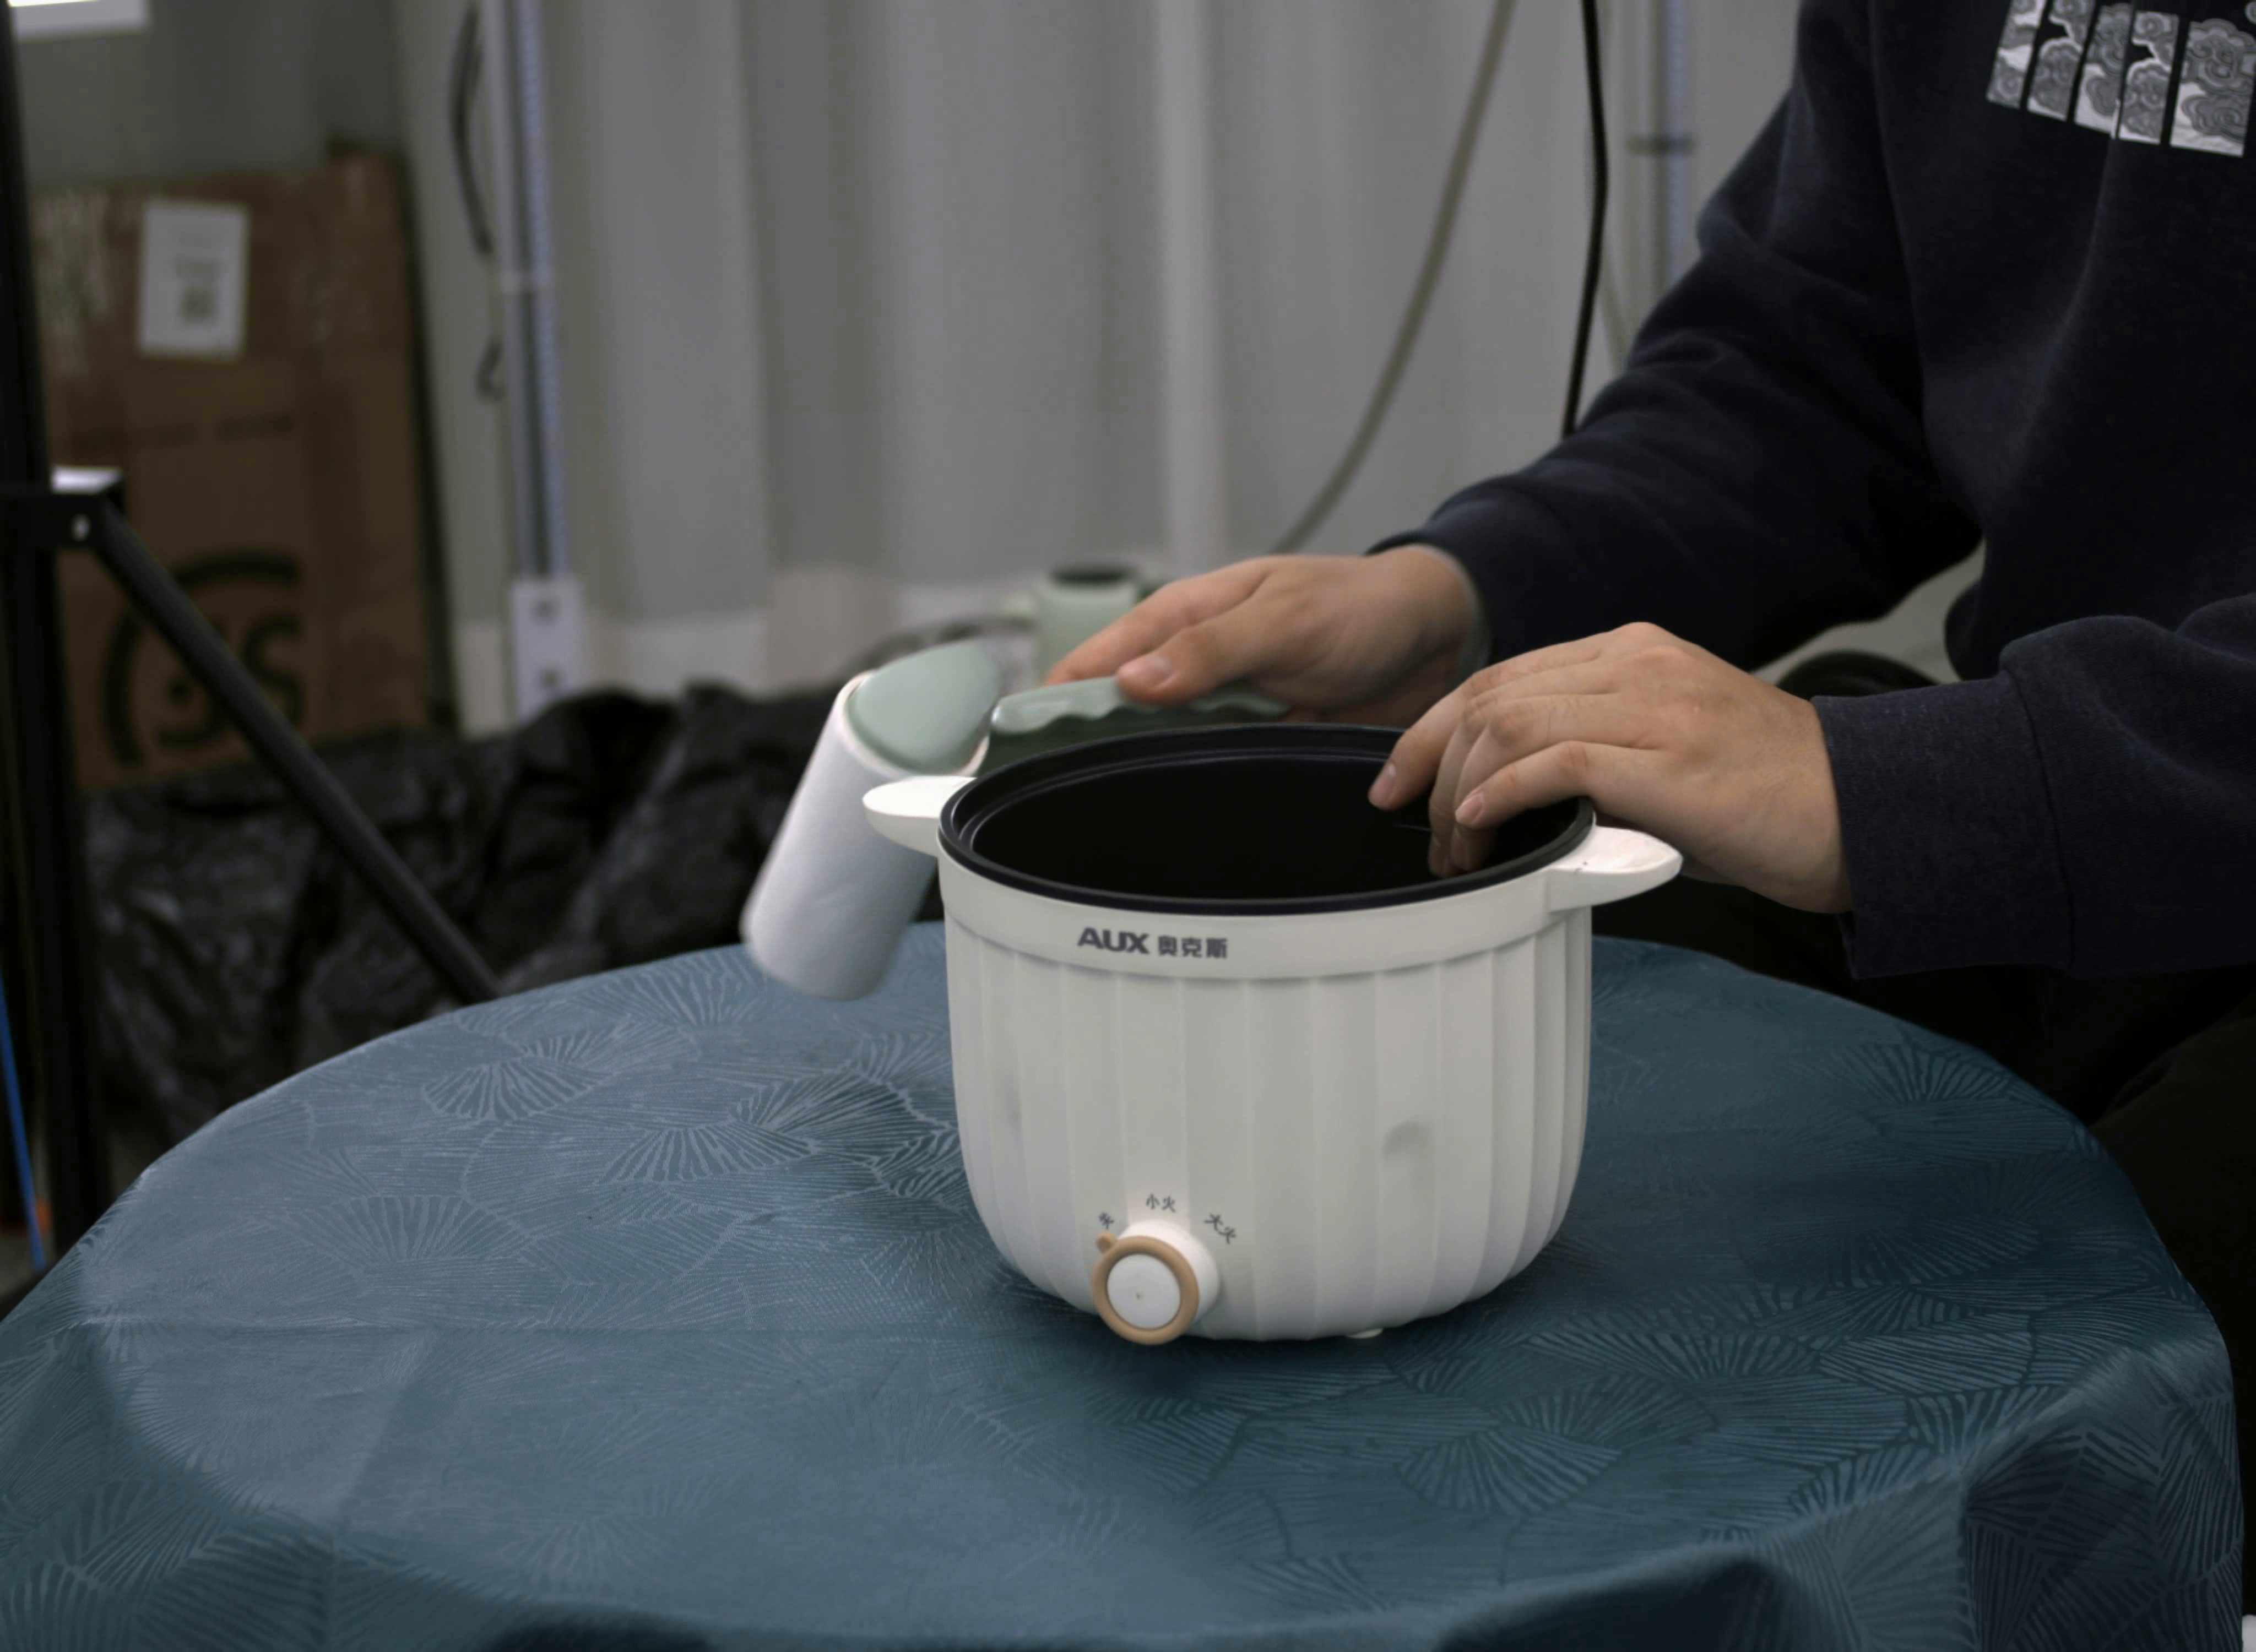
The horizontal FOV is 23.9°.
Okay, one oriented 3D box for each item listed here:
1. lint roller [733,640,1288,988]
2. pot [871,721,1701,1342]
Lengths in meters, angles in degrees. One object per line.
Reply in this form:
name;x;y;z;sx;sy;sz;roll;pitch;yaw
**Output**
lint roller;-0.029;-0.020;1.665;0.193;0.117;0.049;-21;60;-38
pot;0.041;0.060;1.468;0.243;0.143;0.188;3;13;23
